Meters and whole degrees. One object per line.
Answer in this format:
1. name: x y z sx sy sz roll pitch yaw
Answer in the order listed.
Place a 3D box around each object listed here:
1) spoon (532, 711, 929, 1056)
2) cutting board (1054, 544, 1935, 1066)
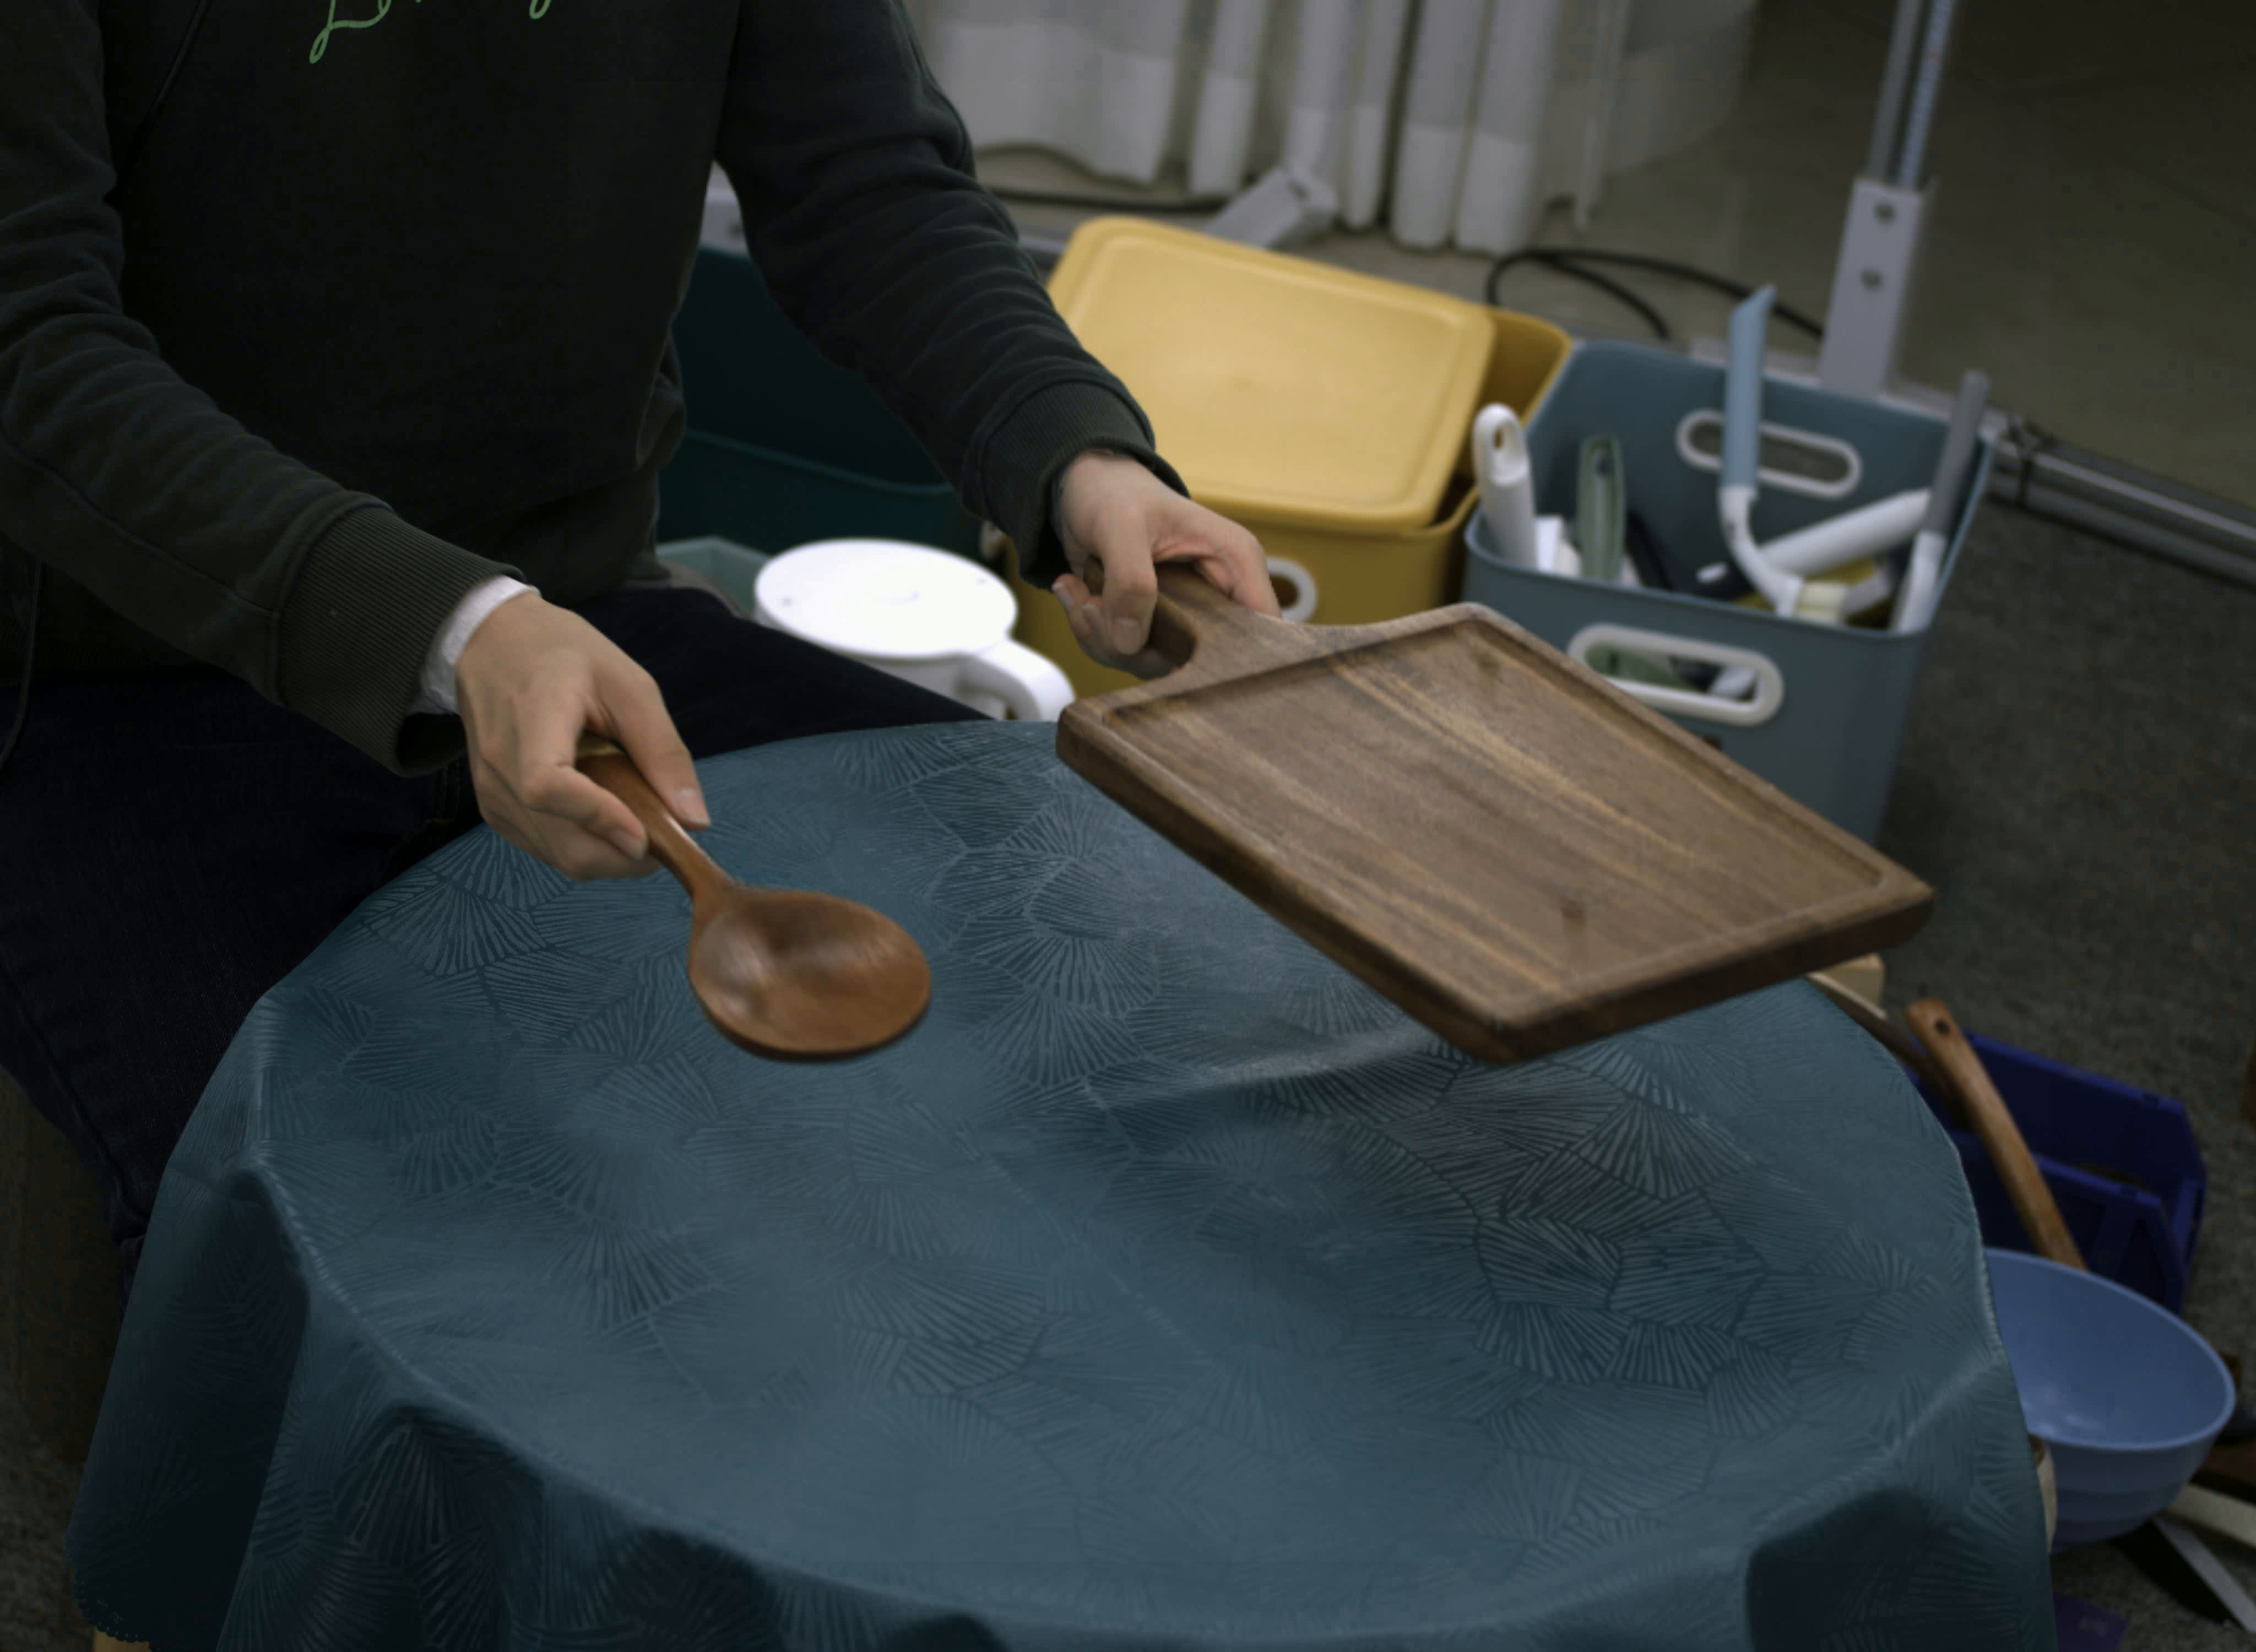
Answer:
1. spoon: -0.137 0.018 1.745 0.075 0.017 0.218 -24 41 -23
2. cutting board: 0.094 -0.024 1.864 0.200 0.023 0.355 -16 34 -33
